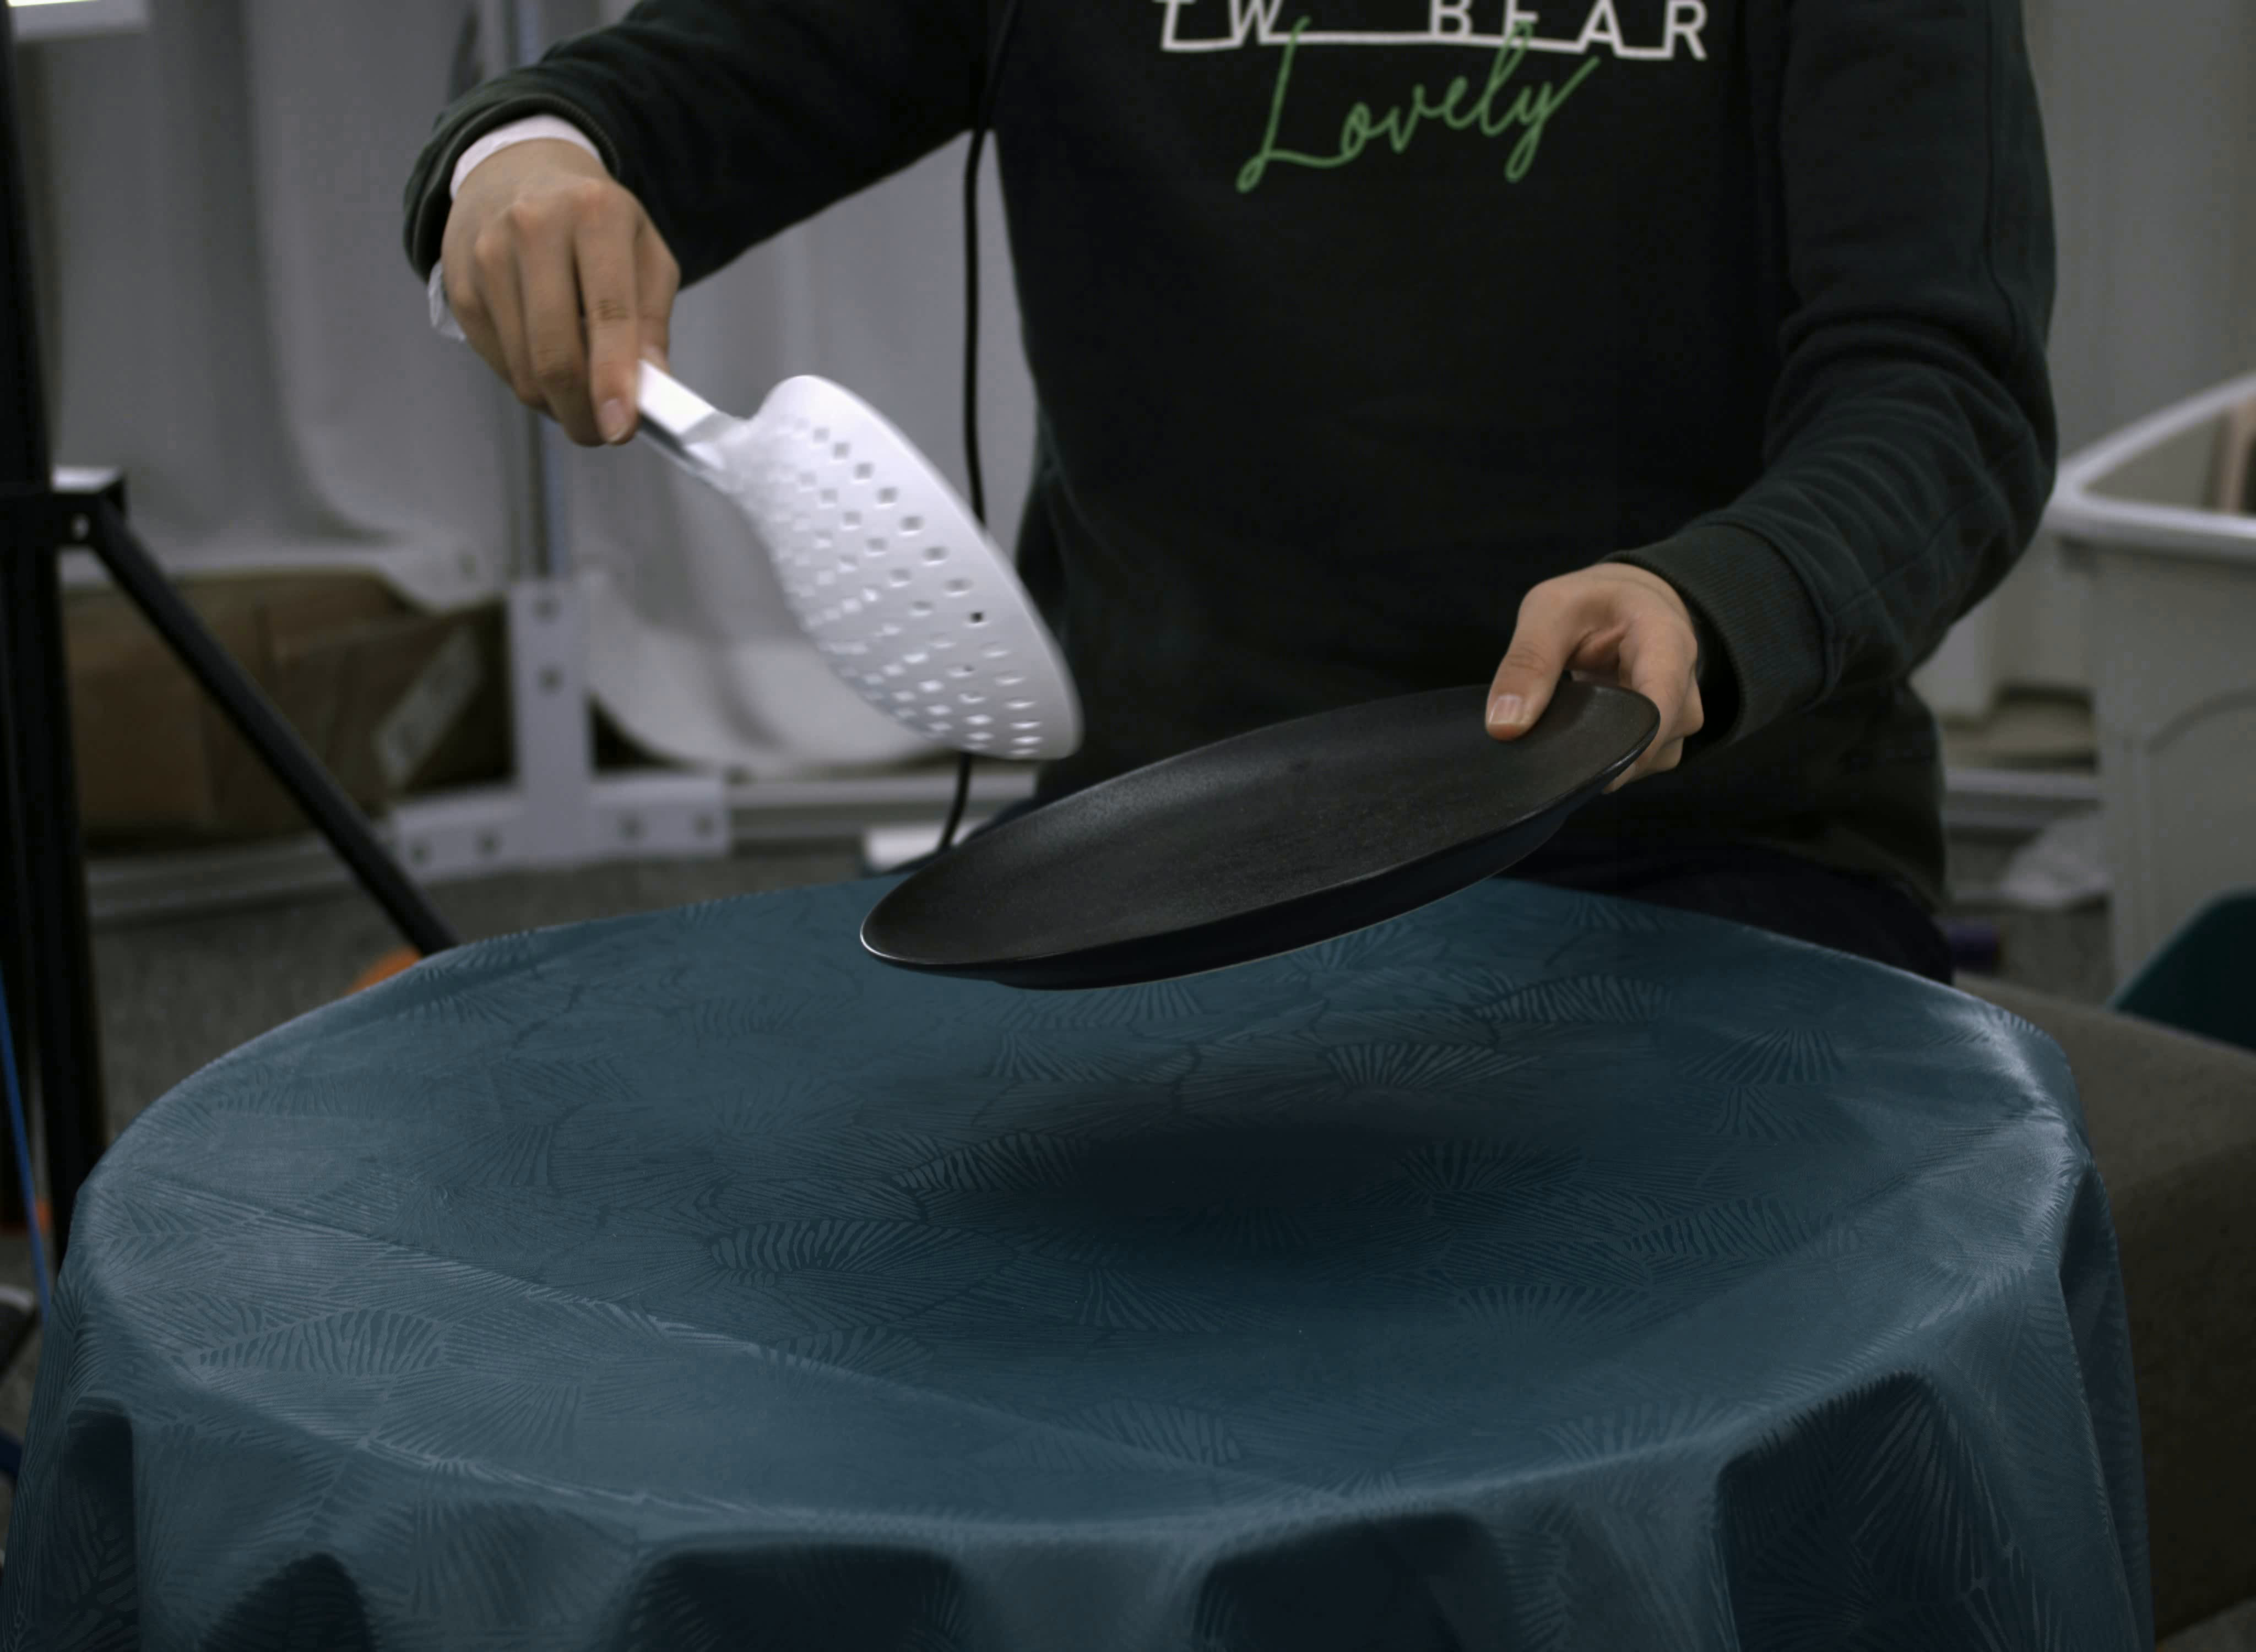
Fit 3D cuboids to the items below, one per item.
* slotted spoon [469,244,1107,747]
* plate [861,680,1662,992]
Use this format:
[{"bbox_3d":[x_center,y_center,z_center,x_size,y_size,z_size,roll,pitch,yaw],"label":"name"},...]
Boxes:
[{"bbox_3d":[-0.115,-0.116,1.642,0.045,0.134,0.357,-33,37,-13],"label":"slotted spoon"},{"bbox_3d":[0.041,0.006,1.559,0.244,0.023,0.245,-16,12,2],"label":"plate"}]
